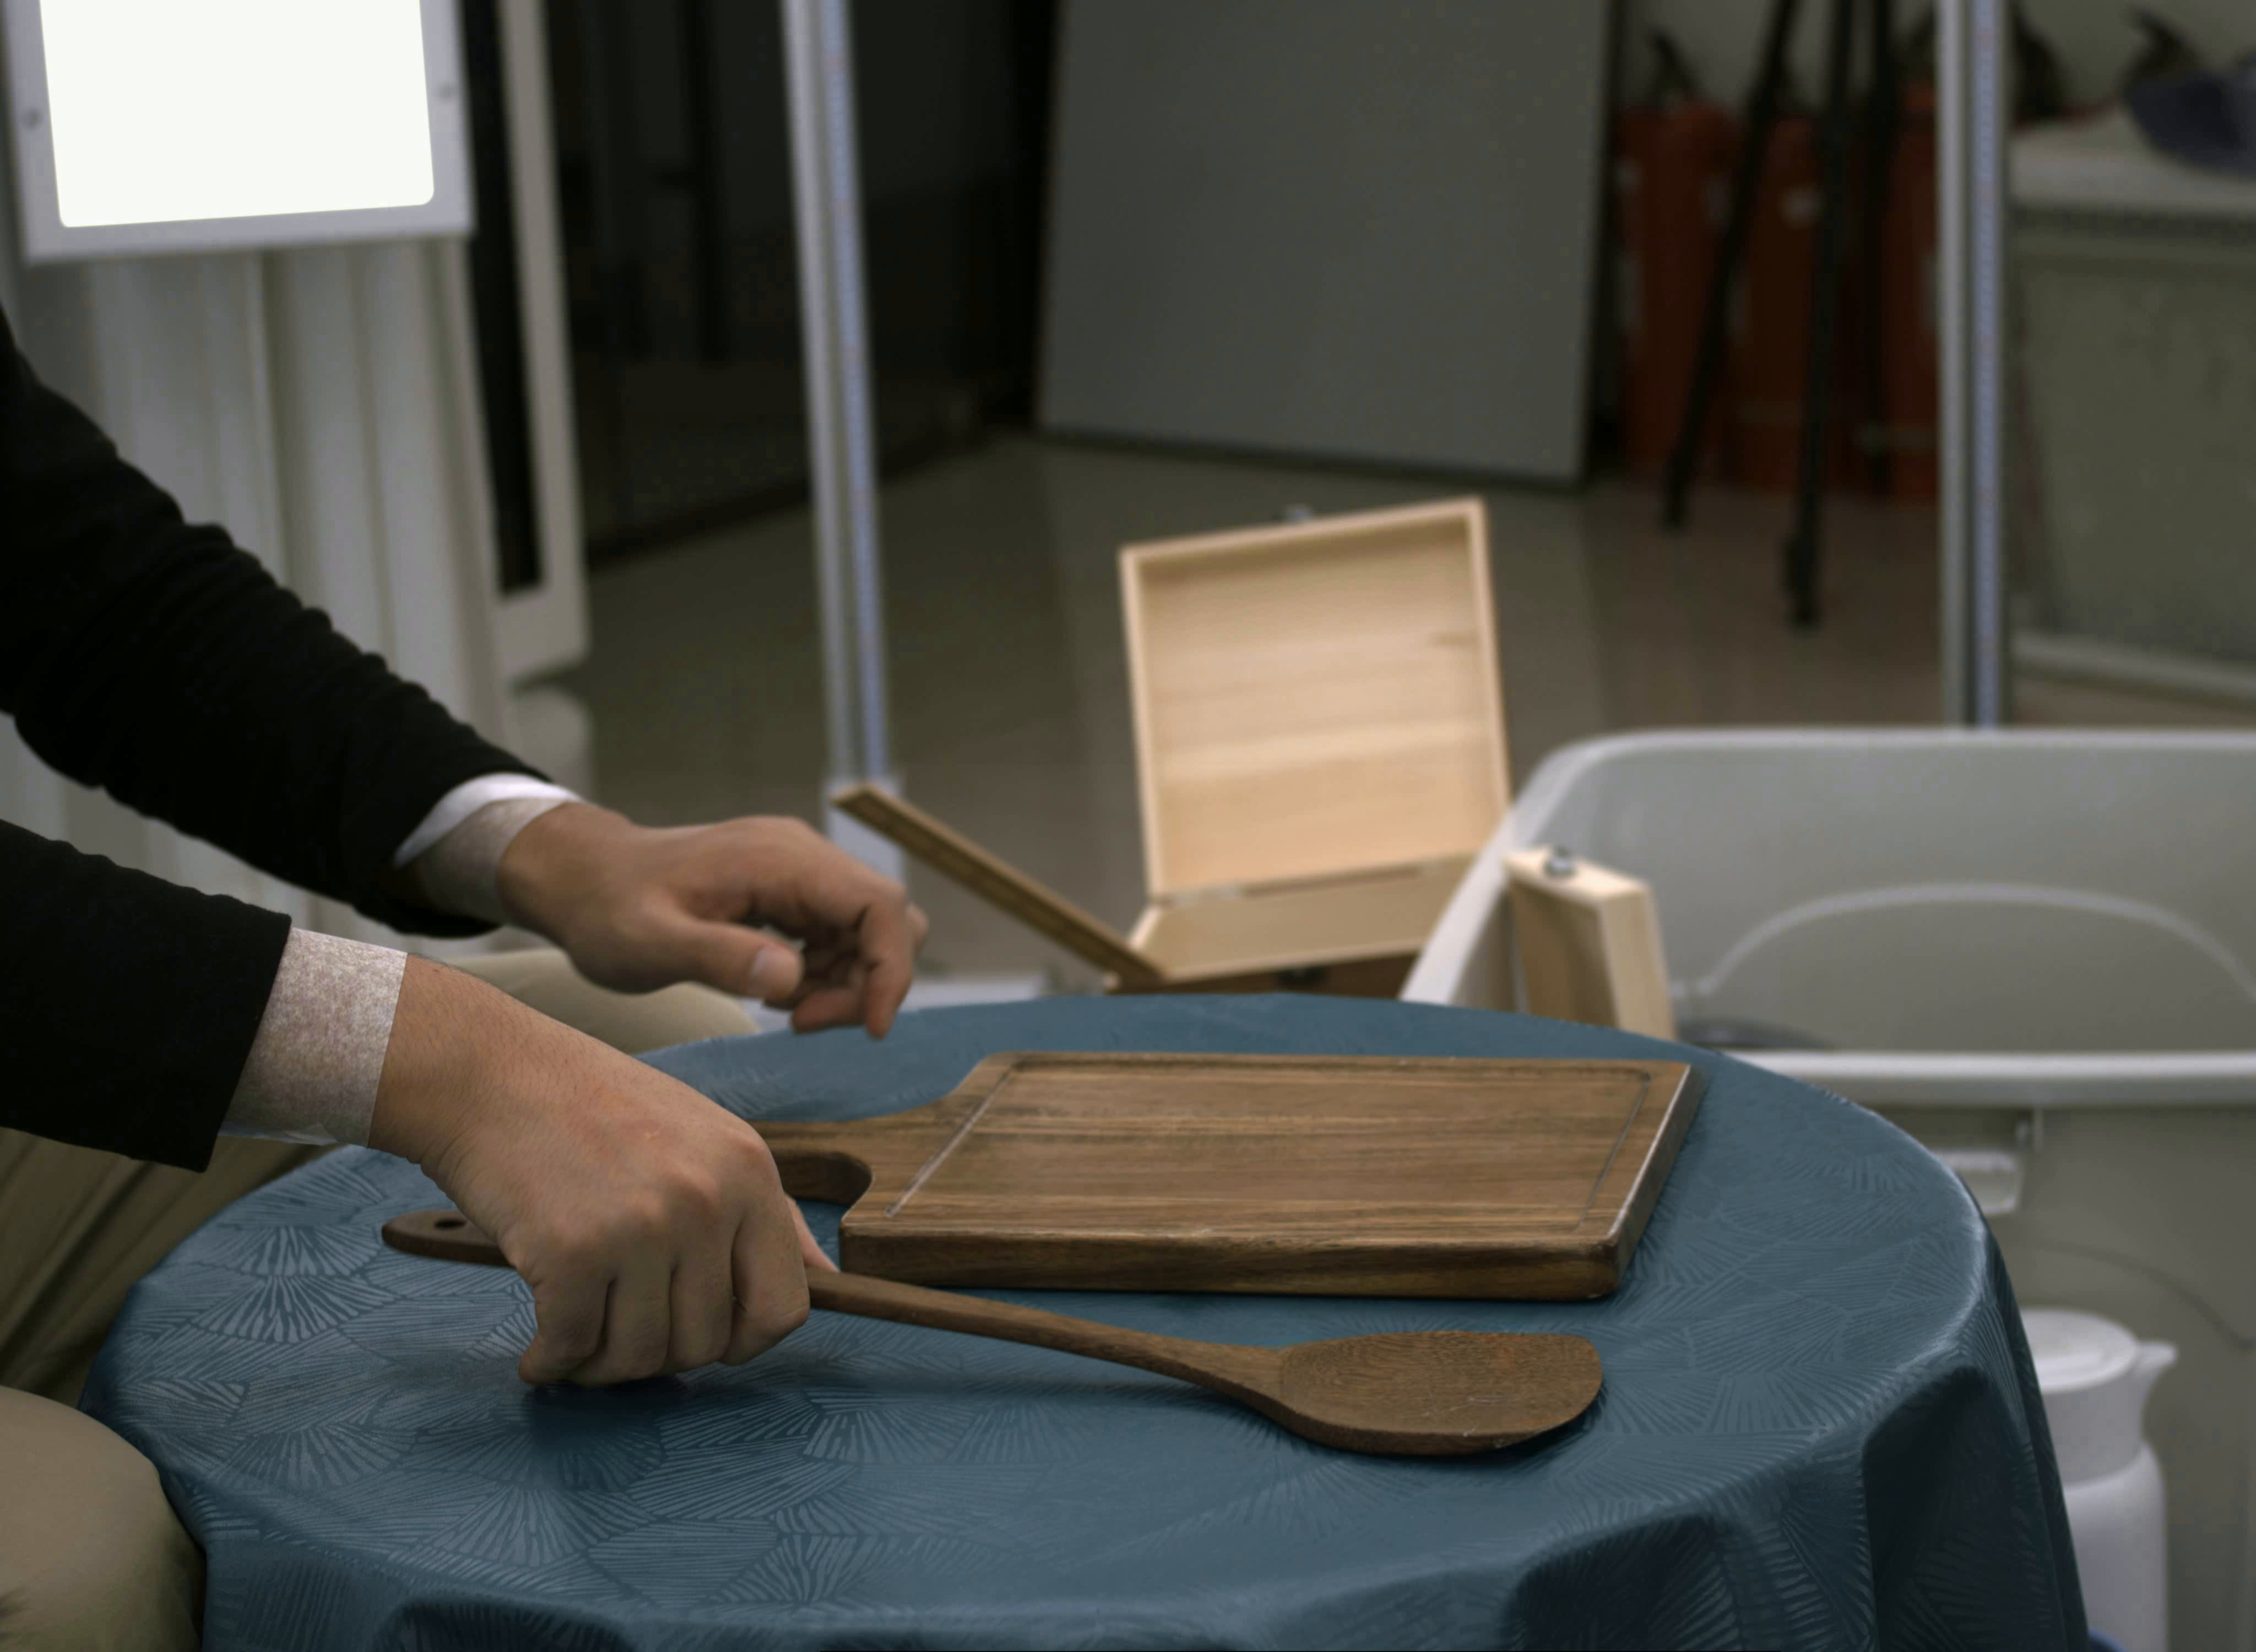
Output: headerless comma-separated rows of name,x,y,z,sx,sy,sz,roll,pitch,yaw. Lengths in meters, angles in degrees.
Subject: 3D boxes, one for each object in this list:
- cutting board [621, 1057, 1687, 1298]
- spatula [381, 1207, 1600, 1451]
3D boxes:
cutting board,0.002,0.112,1.764,0.350,0.023,0.200,-1,14,15
spatula,-0.048,0.145,1.600,0.385,0.016,0.095,7,15,19
